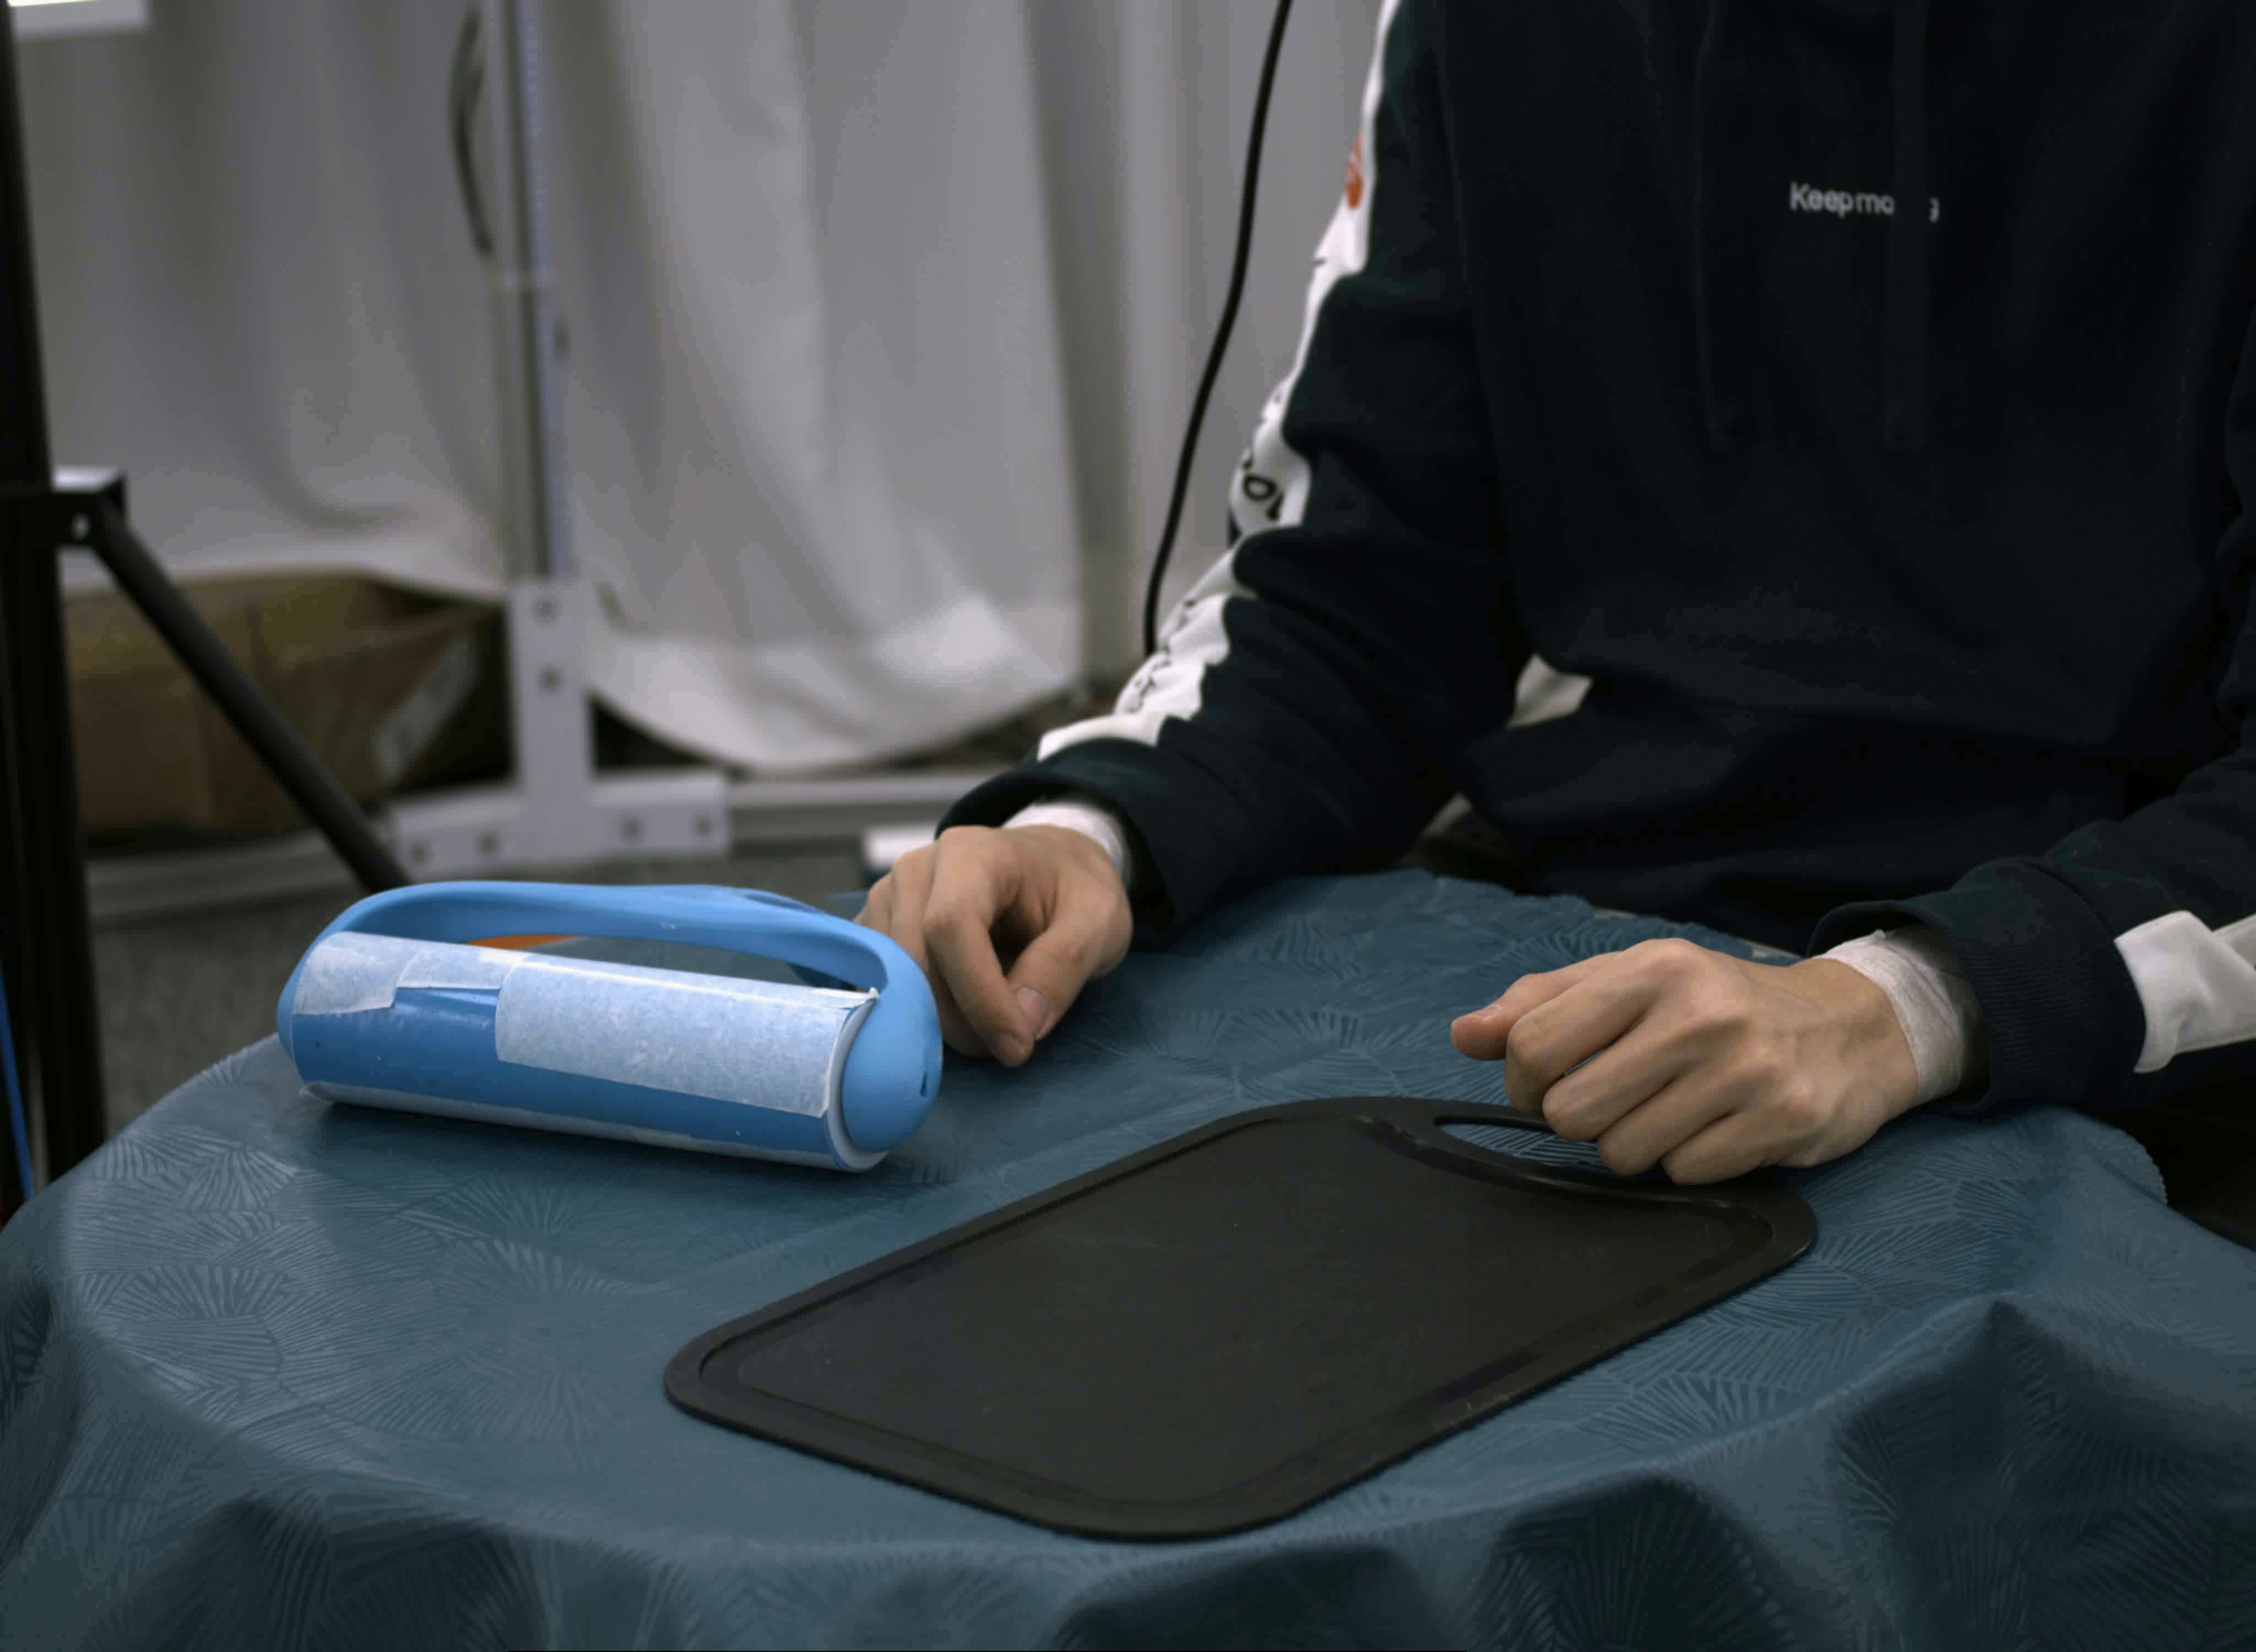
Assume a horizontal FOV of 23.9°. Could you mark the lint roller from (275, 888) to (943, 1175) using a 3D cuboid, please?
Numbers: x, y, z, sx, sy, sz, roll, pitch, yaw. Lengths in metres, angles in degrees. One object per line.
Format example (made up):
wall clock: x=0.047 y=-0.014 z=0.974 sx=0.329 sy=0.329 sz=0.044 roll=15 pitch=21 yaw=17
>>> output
lint roller: x=-0.137 y=0.052 z=1.677 sx=0.232 sy=0.068 sz=0.177 roll=3 pitch=17 yaw=26

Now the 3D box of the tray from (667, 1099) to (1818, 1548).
tray: x=0.041 y=0.128 z=1.470 sx=0.216 sy=0.010 sz=0.318 roll=12 pitch=21 yaw=42
